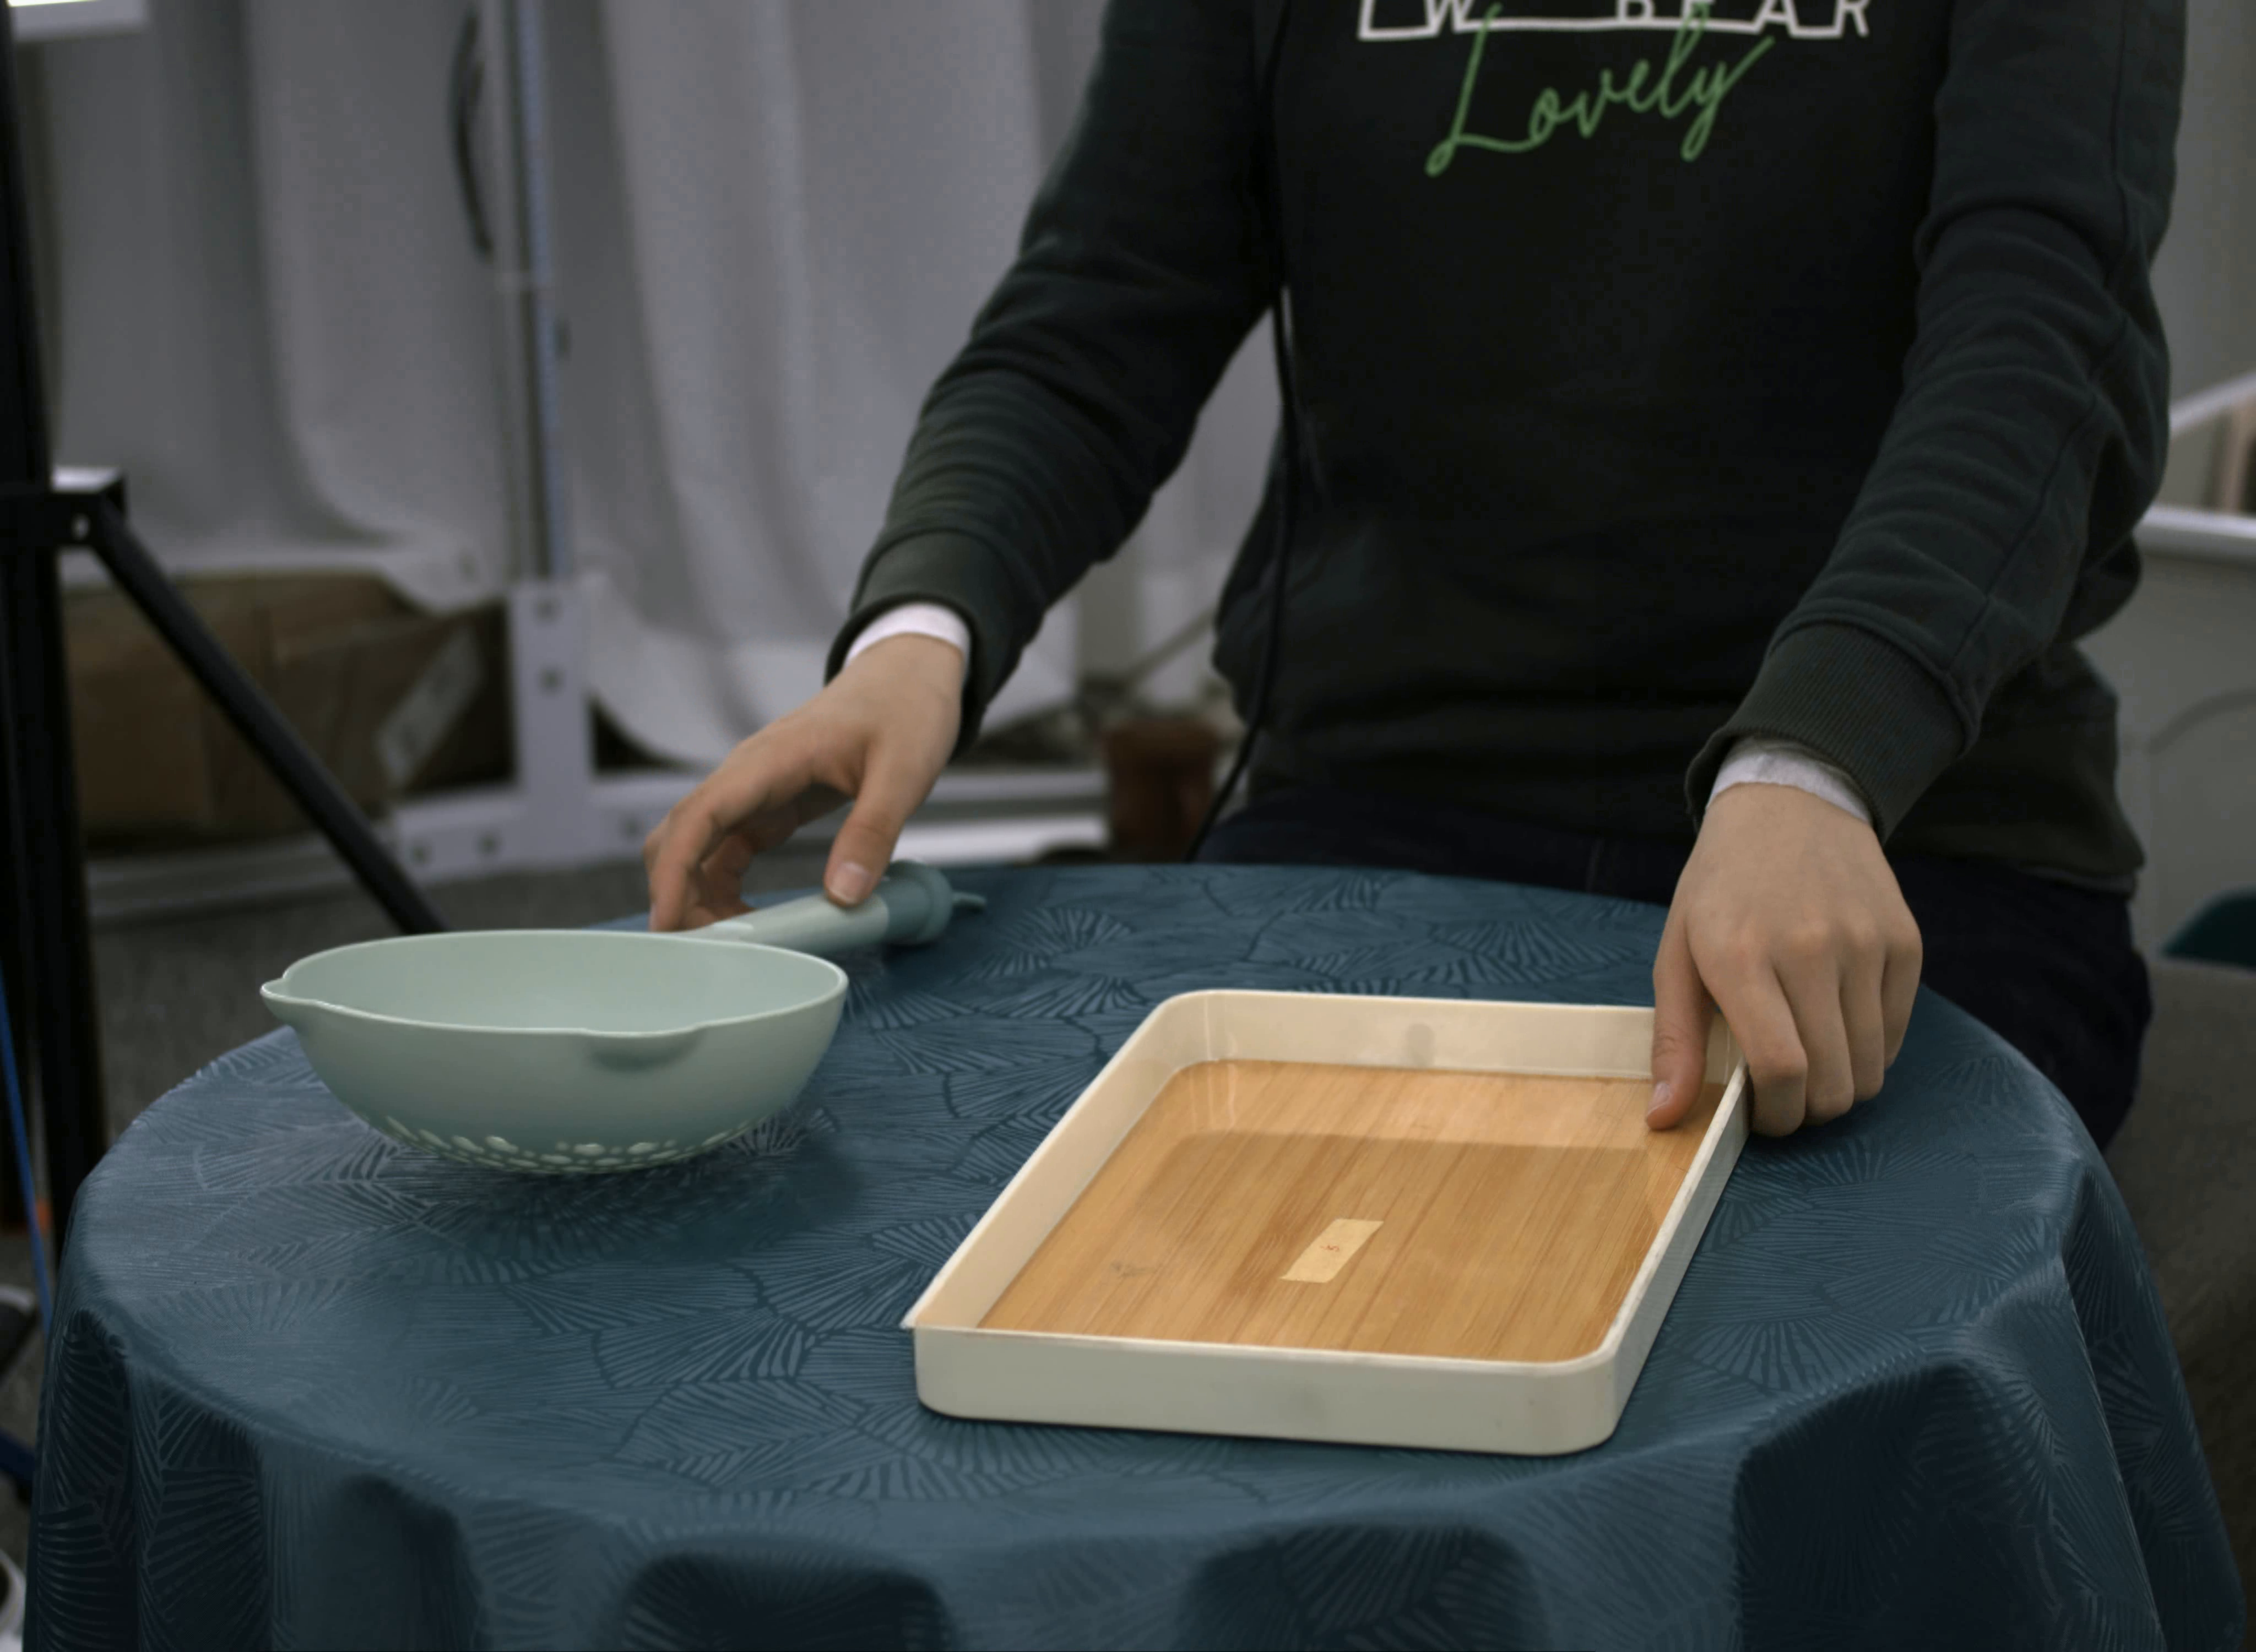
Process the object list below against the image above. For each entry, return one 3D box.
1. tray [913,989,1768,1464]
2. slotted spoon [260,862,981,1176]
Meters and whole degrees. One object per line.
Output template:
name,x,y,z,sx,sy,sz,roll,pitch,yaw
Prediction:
tray,0.069,0.108,1.501,0.193,0.027,0.298,2,17,16
slotted spoon,-0.129,0.045,1.684,0.172,0.075,0.353,5,17,24
